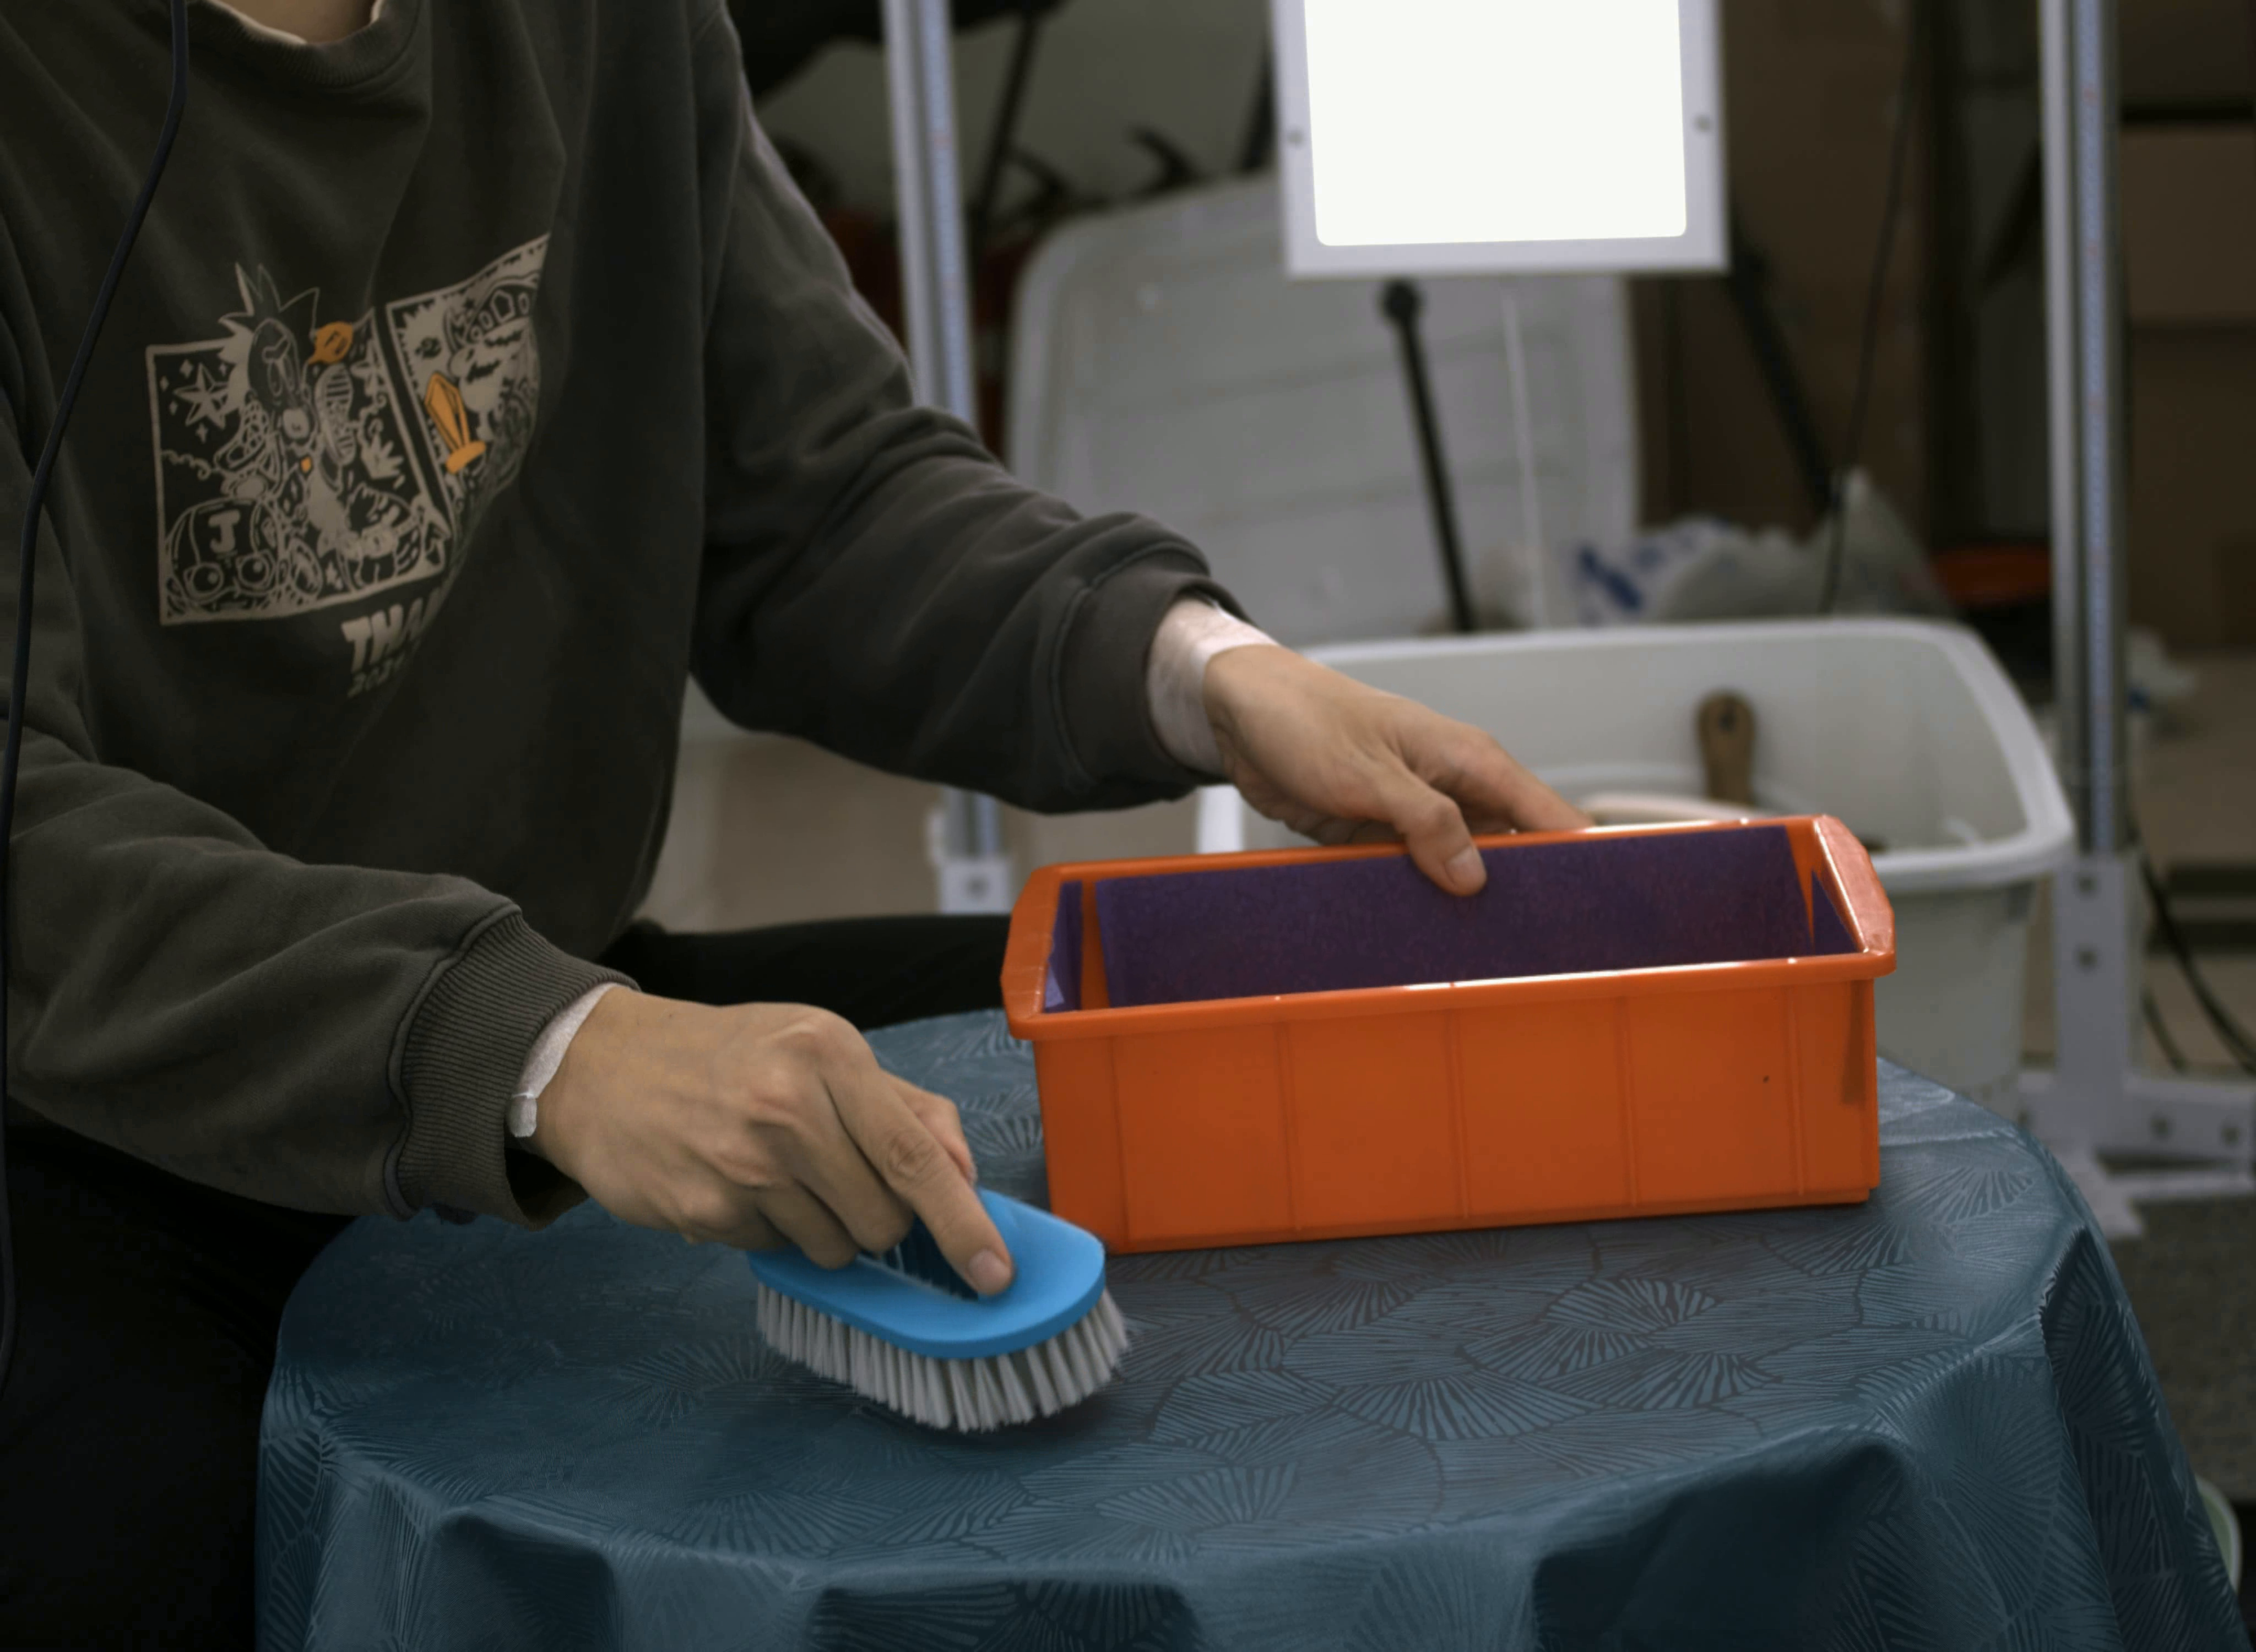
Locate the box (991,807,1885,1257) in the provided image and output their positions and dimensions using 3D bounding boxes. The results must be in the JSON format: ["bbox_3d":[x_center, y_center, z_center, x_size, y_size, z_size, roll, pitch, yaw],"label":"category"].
[{"bbox_3d":[0.109,0.071,1.900,0.304,0.097,0.205,-4,14,5],"label":"box"}]

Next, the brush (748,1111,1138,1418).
[{"bbox_3d":[-0.063,0.125,1.705,0.083,0.064,0.144,-33,31,-27],"label":"brush"}]
